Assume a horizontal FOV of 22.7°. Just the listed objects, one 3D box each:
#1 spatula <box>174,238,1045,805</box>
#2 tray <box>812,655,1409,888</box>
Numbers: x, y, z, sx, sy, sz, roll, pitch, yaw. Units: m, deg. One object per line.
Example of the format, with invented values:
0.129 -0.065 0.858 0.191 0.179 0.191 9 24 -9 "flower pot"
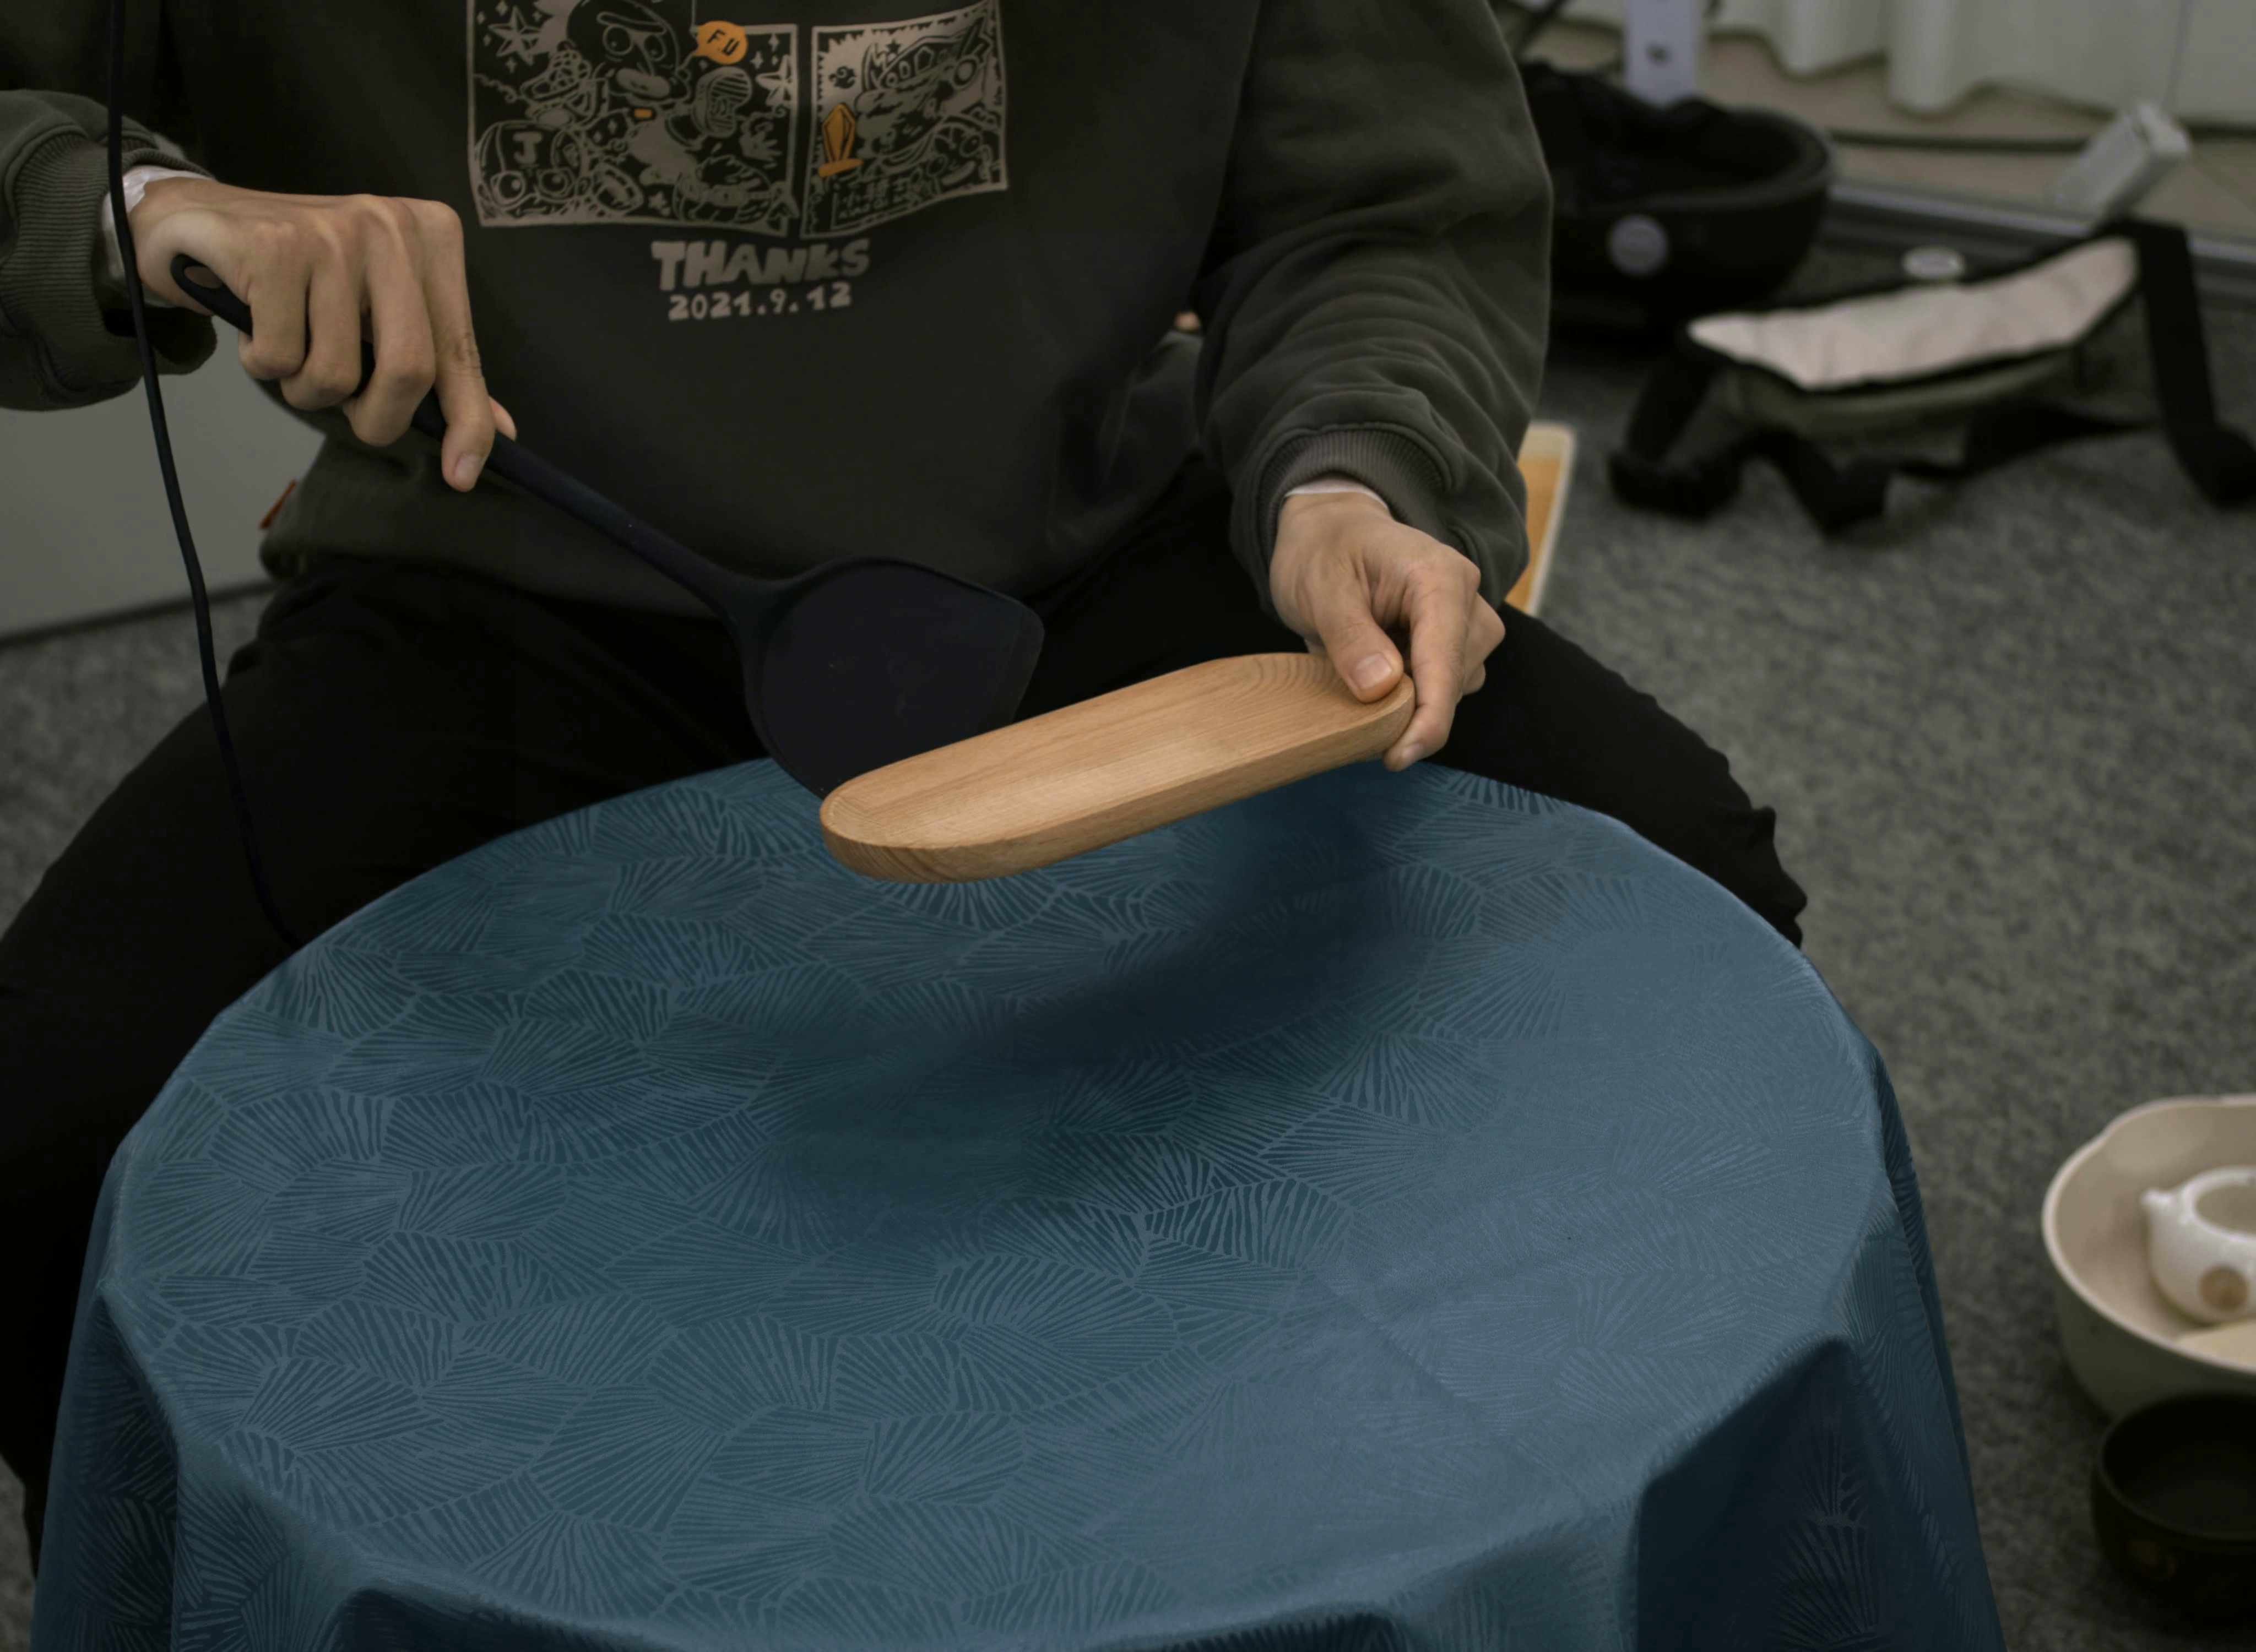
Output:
-0.184 -0.111 1.932 0.325 0.100 0.040 32 -11 -13 "spatula"
-0.004 -0.019 1.920 0.233 0.020 0.101 -20 23 -34 "tray"
